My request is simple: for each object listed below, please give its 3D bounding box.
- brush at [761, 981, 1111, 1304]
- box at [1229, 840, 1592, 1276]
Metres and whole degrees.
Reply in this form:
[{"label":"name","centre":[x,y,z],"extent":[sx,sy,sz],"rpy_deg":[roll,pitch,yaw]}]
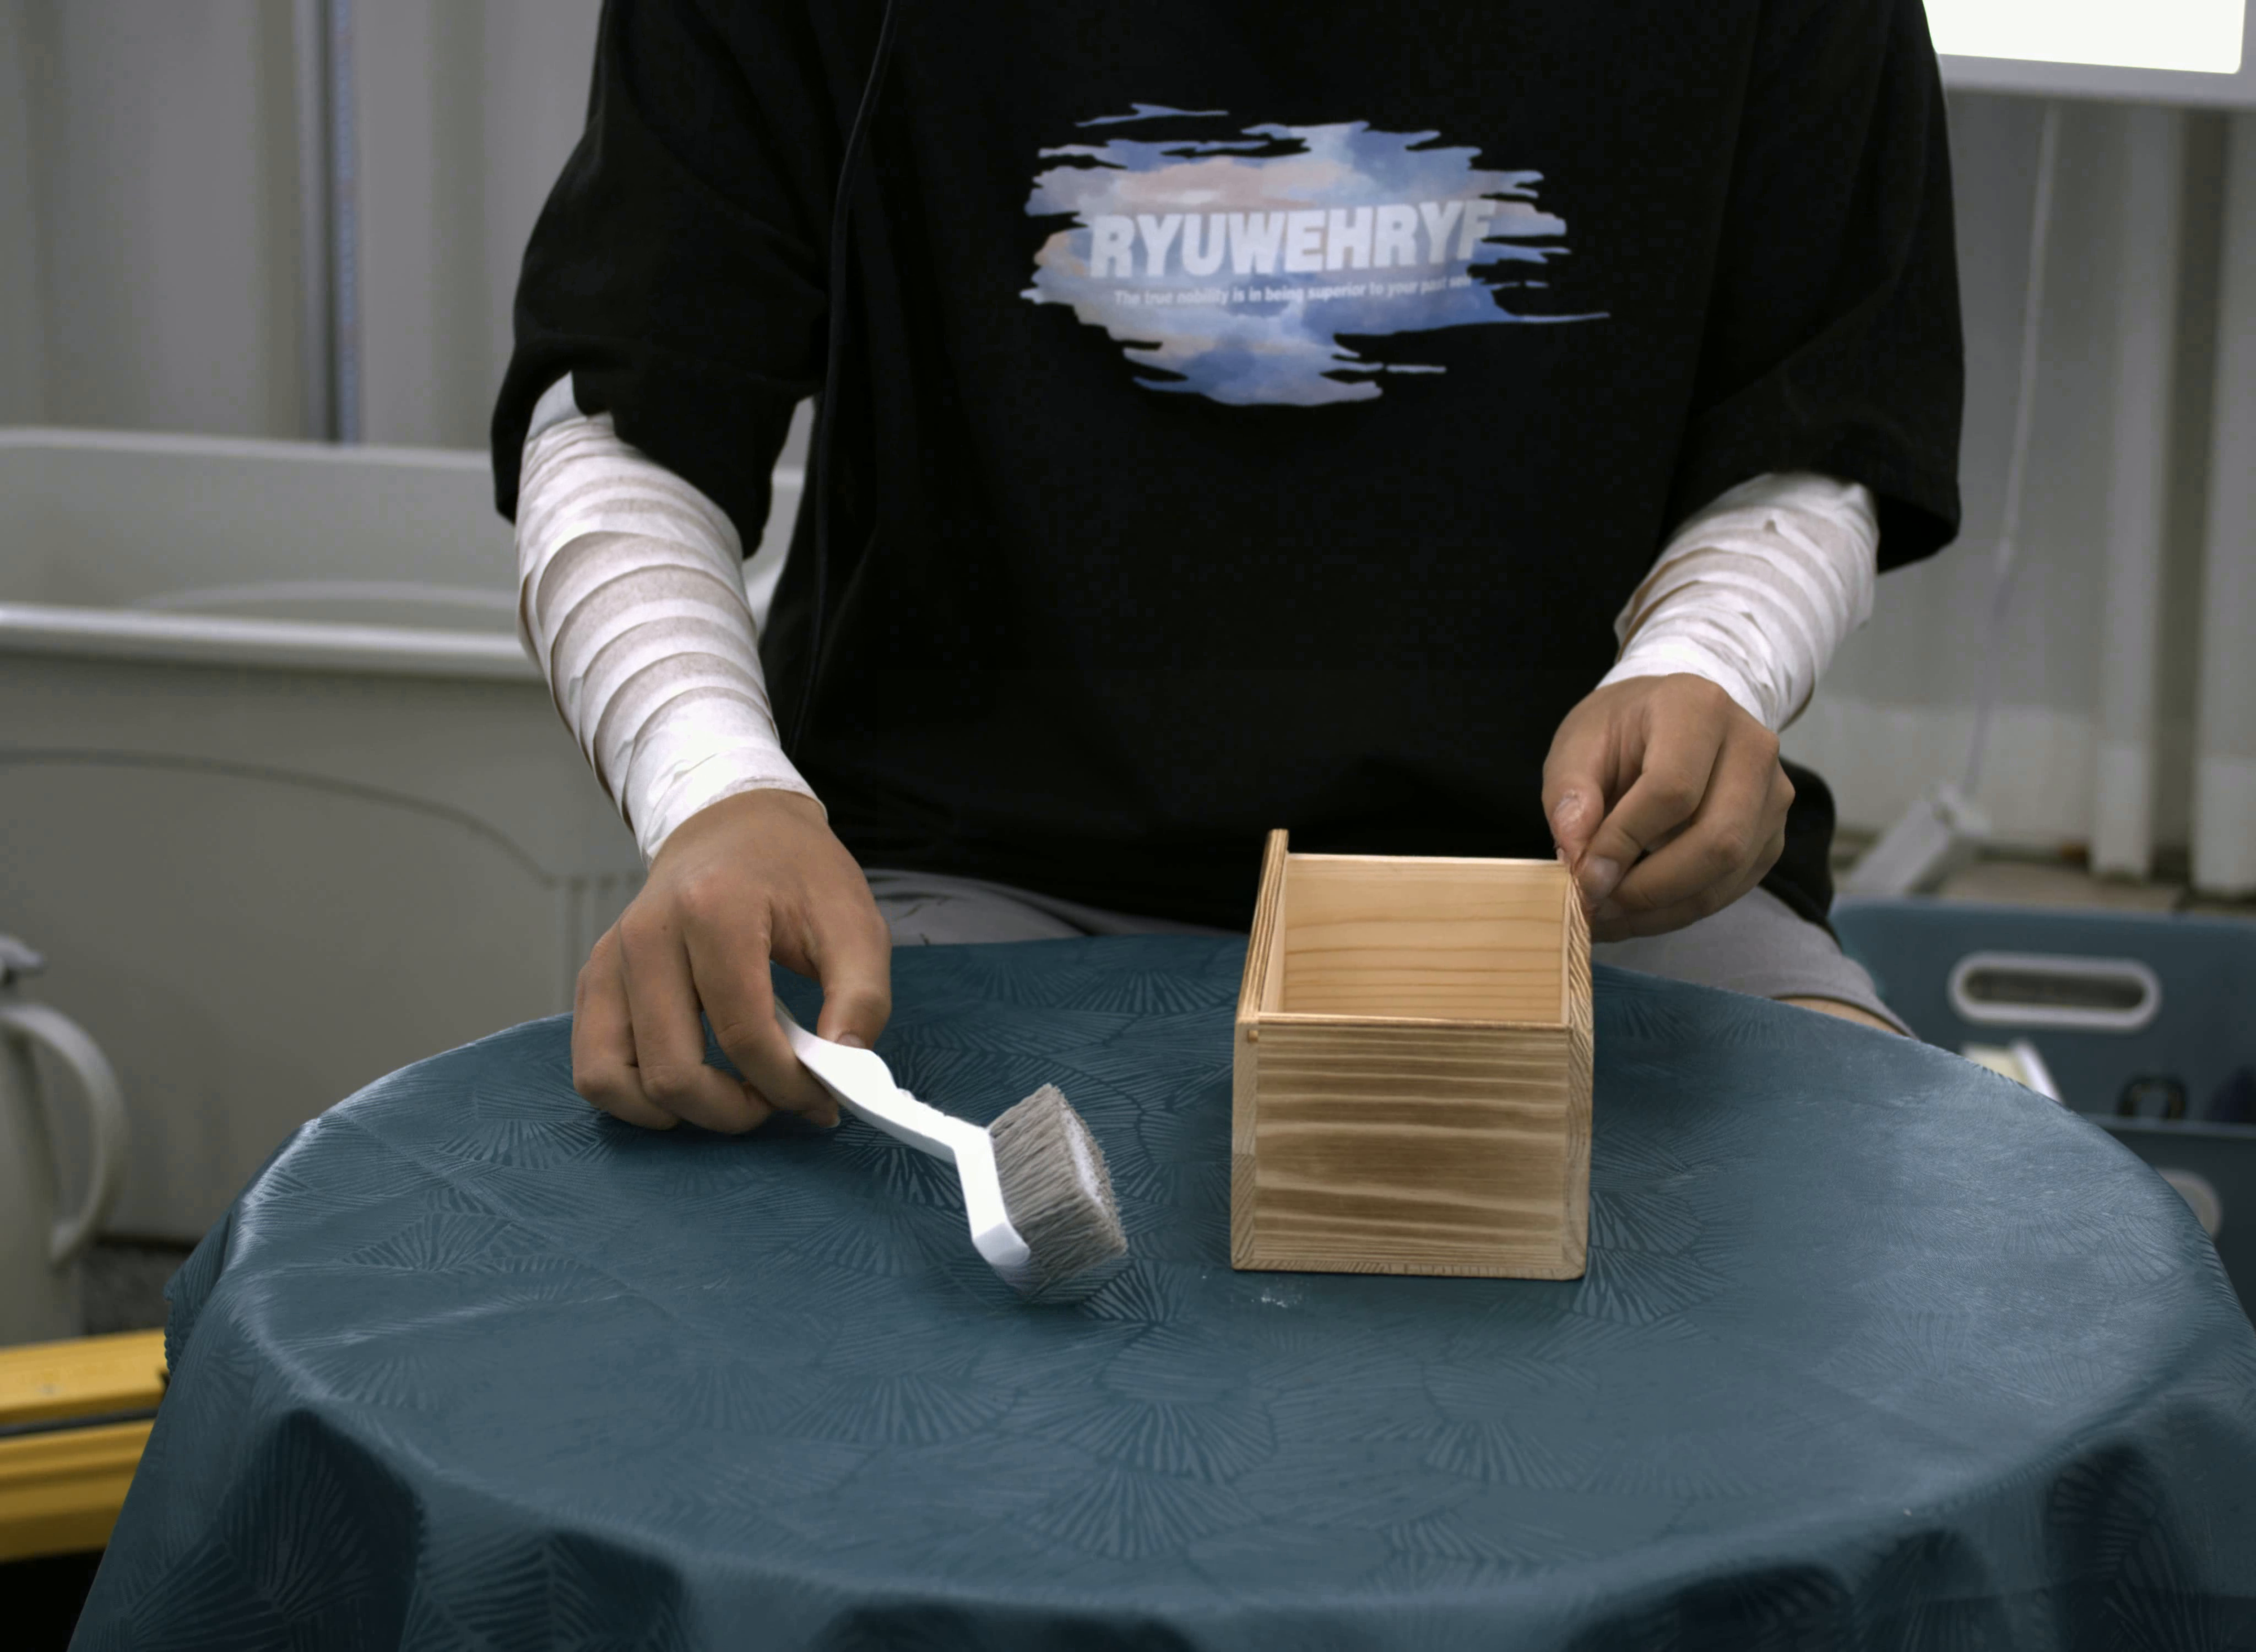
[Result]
[{"label":"brush","centre":[-0.059,0.081,1.611],"extent":[0.050,0.035,0.241],"rpy_deg":[-39,27,-5]},{"label":"box","centre":[0.089,0.068,1.639],"extent":[0.107,0.081,0.210],"rpy_deg":[1,14,3]}]
